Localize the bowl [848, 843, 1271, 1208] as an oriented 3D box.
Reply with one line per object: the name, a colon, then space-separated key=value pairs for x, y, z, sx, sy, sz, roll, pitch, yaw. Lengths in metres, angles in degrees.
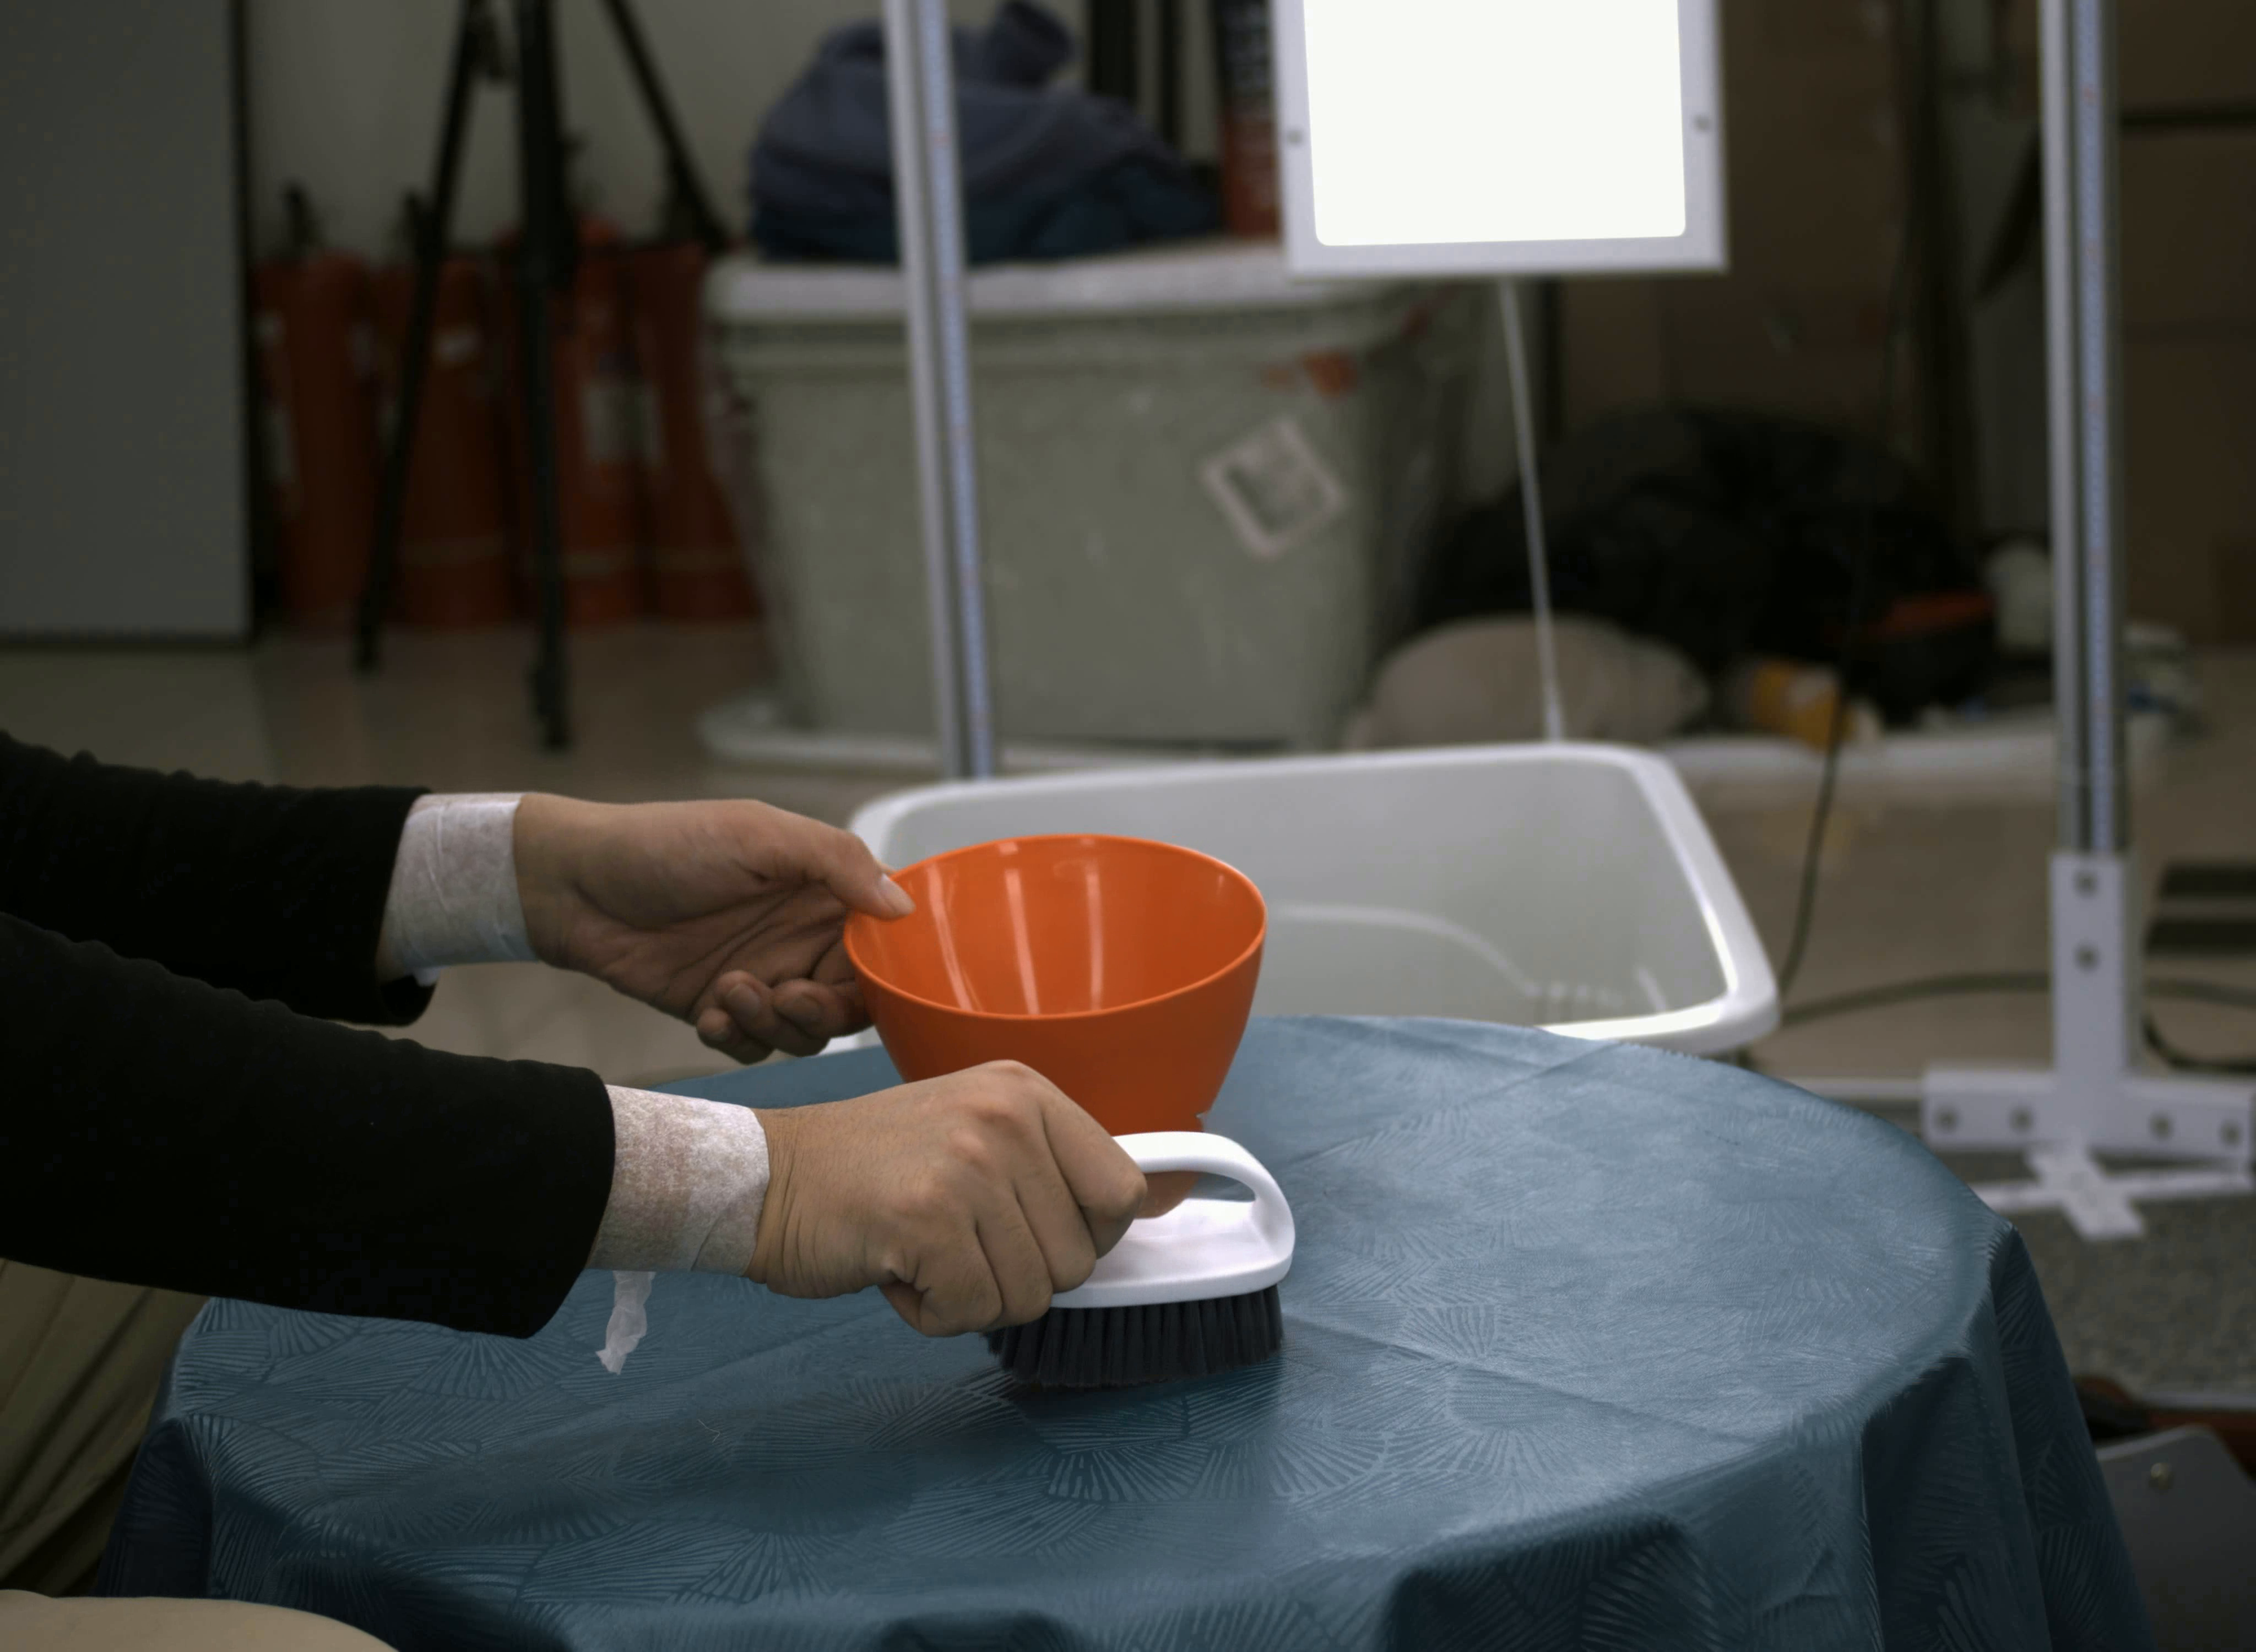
bowl: x=-0.020 y=0.075 z=1.910 sx=0.147 sy=0.105 sz=0.148 roll=-6 pitch=15 yaw=0

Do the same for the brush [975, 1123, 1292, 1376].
brush: x=0.004 y=0.126 z=1.706 sx=0.098 sy=0.073 sz=0.050 roll=-3 pitch=31 yaw=-13
